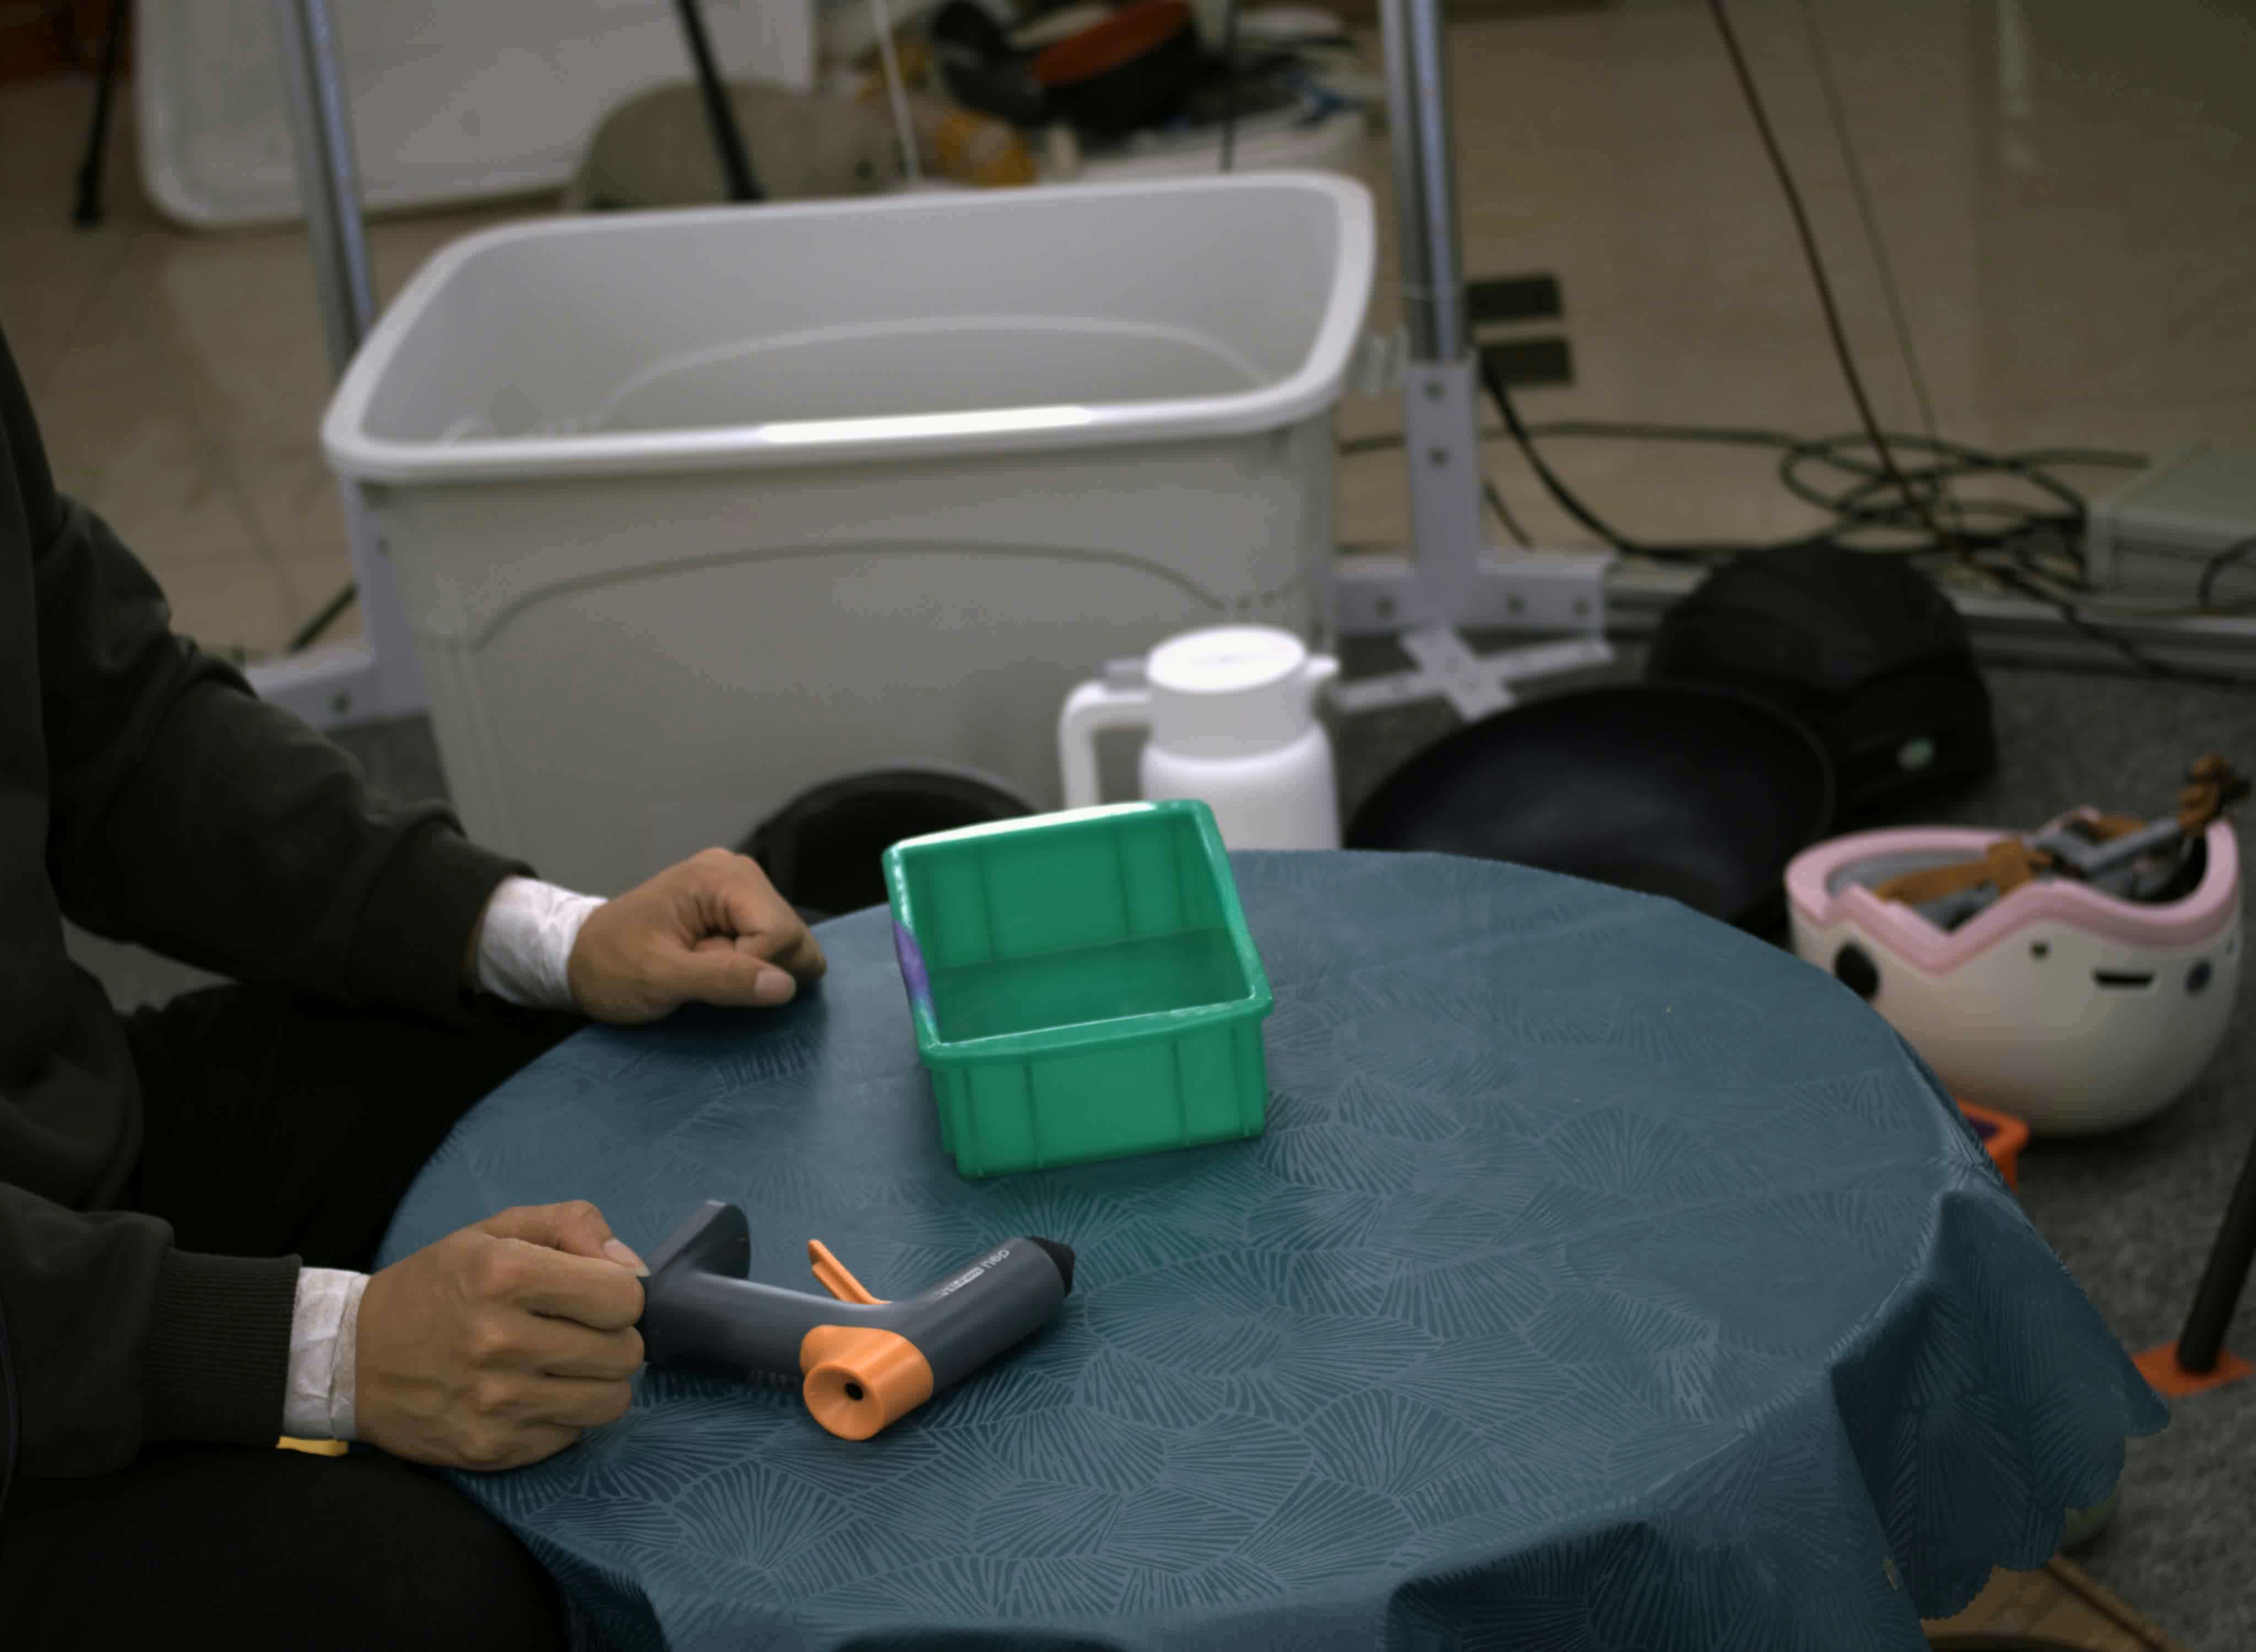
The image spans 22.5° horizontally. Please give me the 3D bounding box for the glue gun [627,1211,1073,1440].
[{"bbox_3d":[-0.100,0.176,2.057,0.139,0.041,0.116,8,27,24],"label":"glue gun"}]

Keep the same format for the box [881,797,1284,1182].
[{"bbox_3d":[-0.018,0.065,2.238,0.138,0.066,0.207,-10,27,-5],"label":"box"}]
